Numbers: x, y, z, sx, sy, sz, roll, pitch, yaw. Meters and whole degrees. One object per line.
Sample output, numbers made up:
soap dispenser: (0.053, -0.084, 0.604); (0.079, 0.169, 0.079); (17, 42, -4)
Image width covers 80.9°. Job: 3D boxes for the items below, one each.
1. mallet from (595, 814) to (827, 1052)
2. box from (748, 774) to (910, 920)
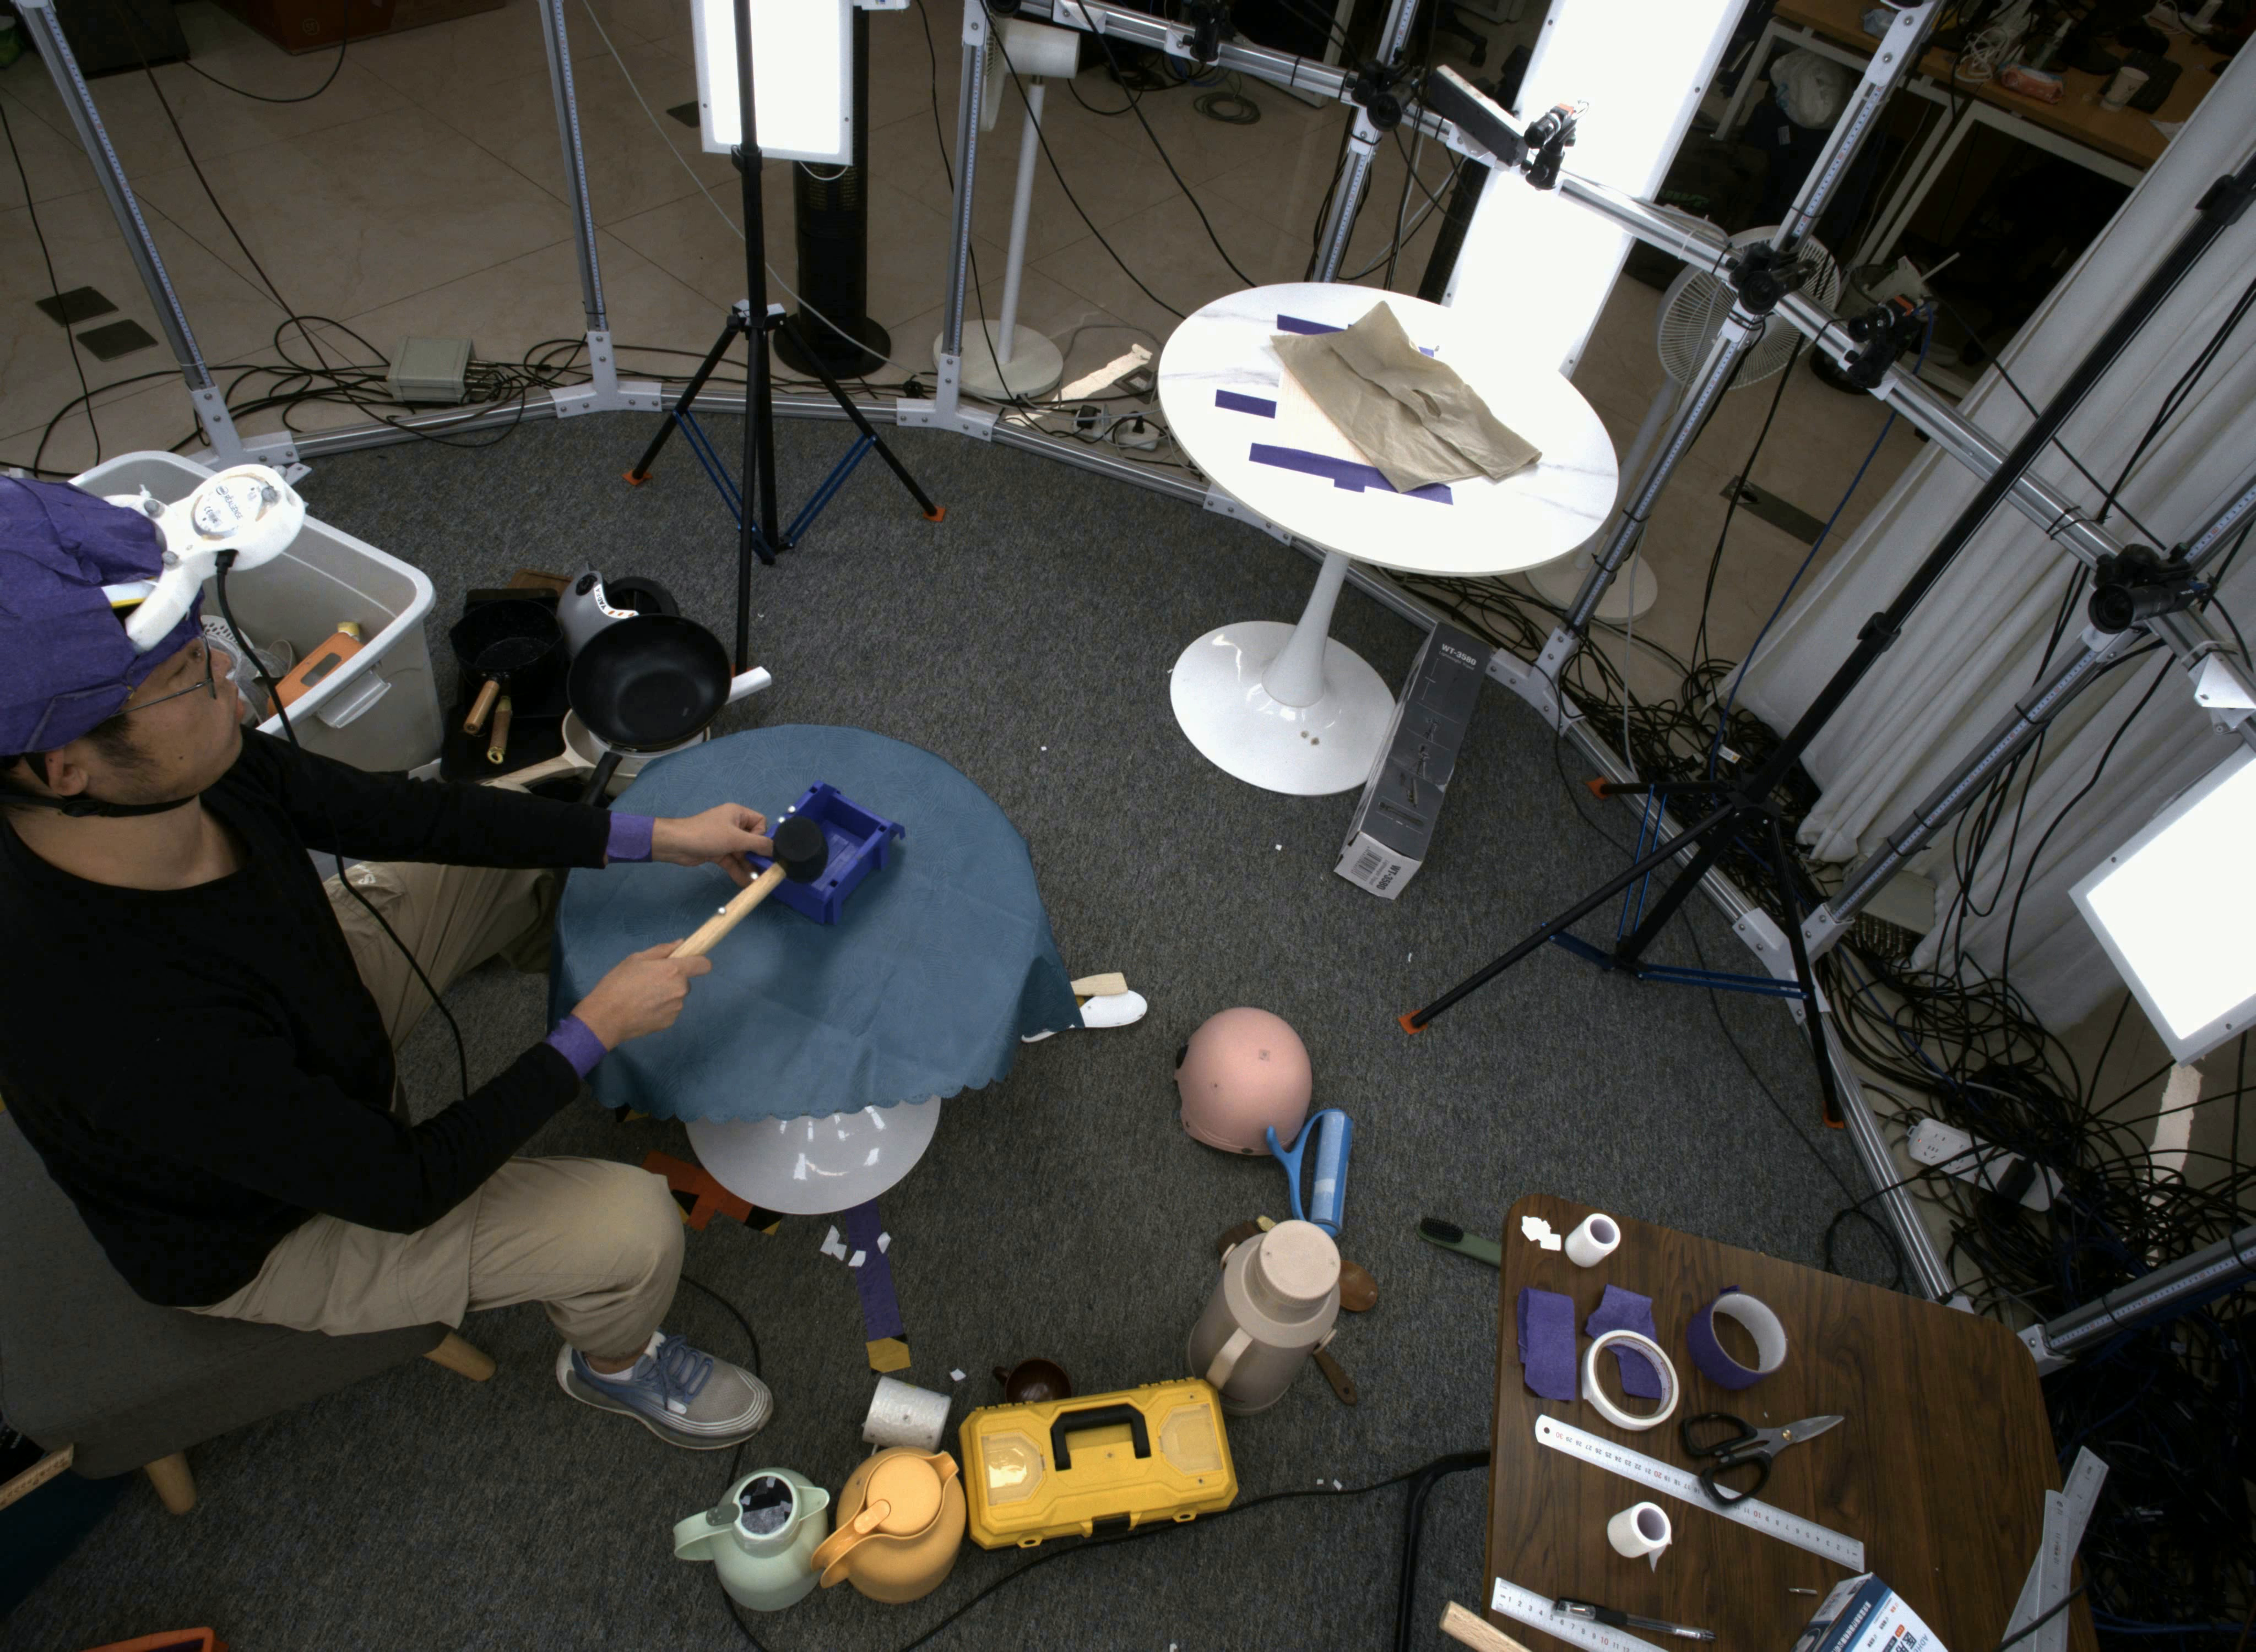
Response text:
mallet: (-0.478, 0.116, 1.463); (0.063, 0.103, 0.339); (44, 69, 9)
box: (-0.382, 0.020, 1.665); (0.122, 0.083, 0.179); (29, 55, 9)
